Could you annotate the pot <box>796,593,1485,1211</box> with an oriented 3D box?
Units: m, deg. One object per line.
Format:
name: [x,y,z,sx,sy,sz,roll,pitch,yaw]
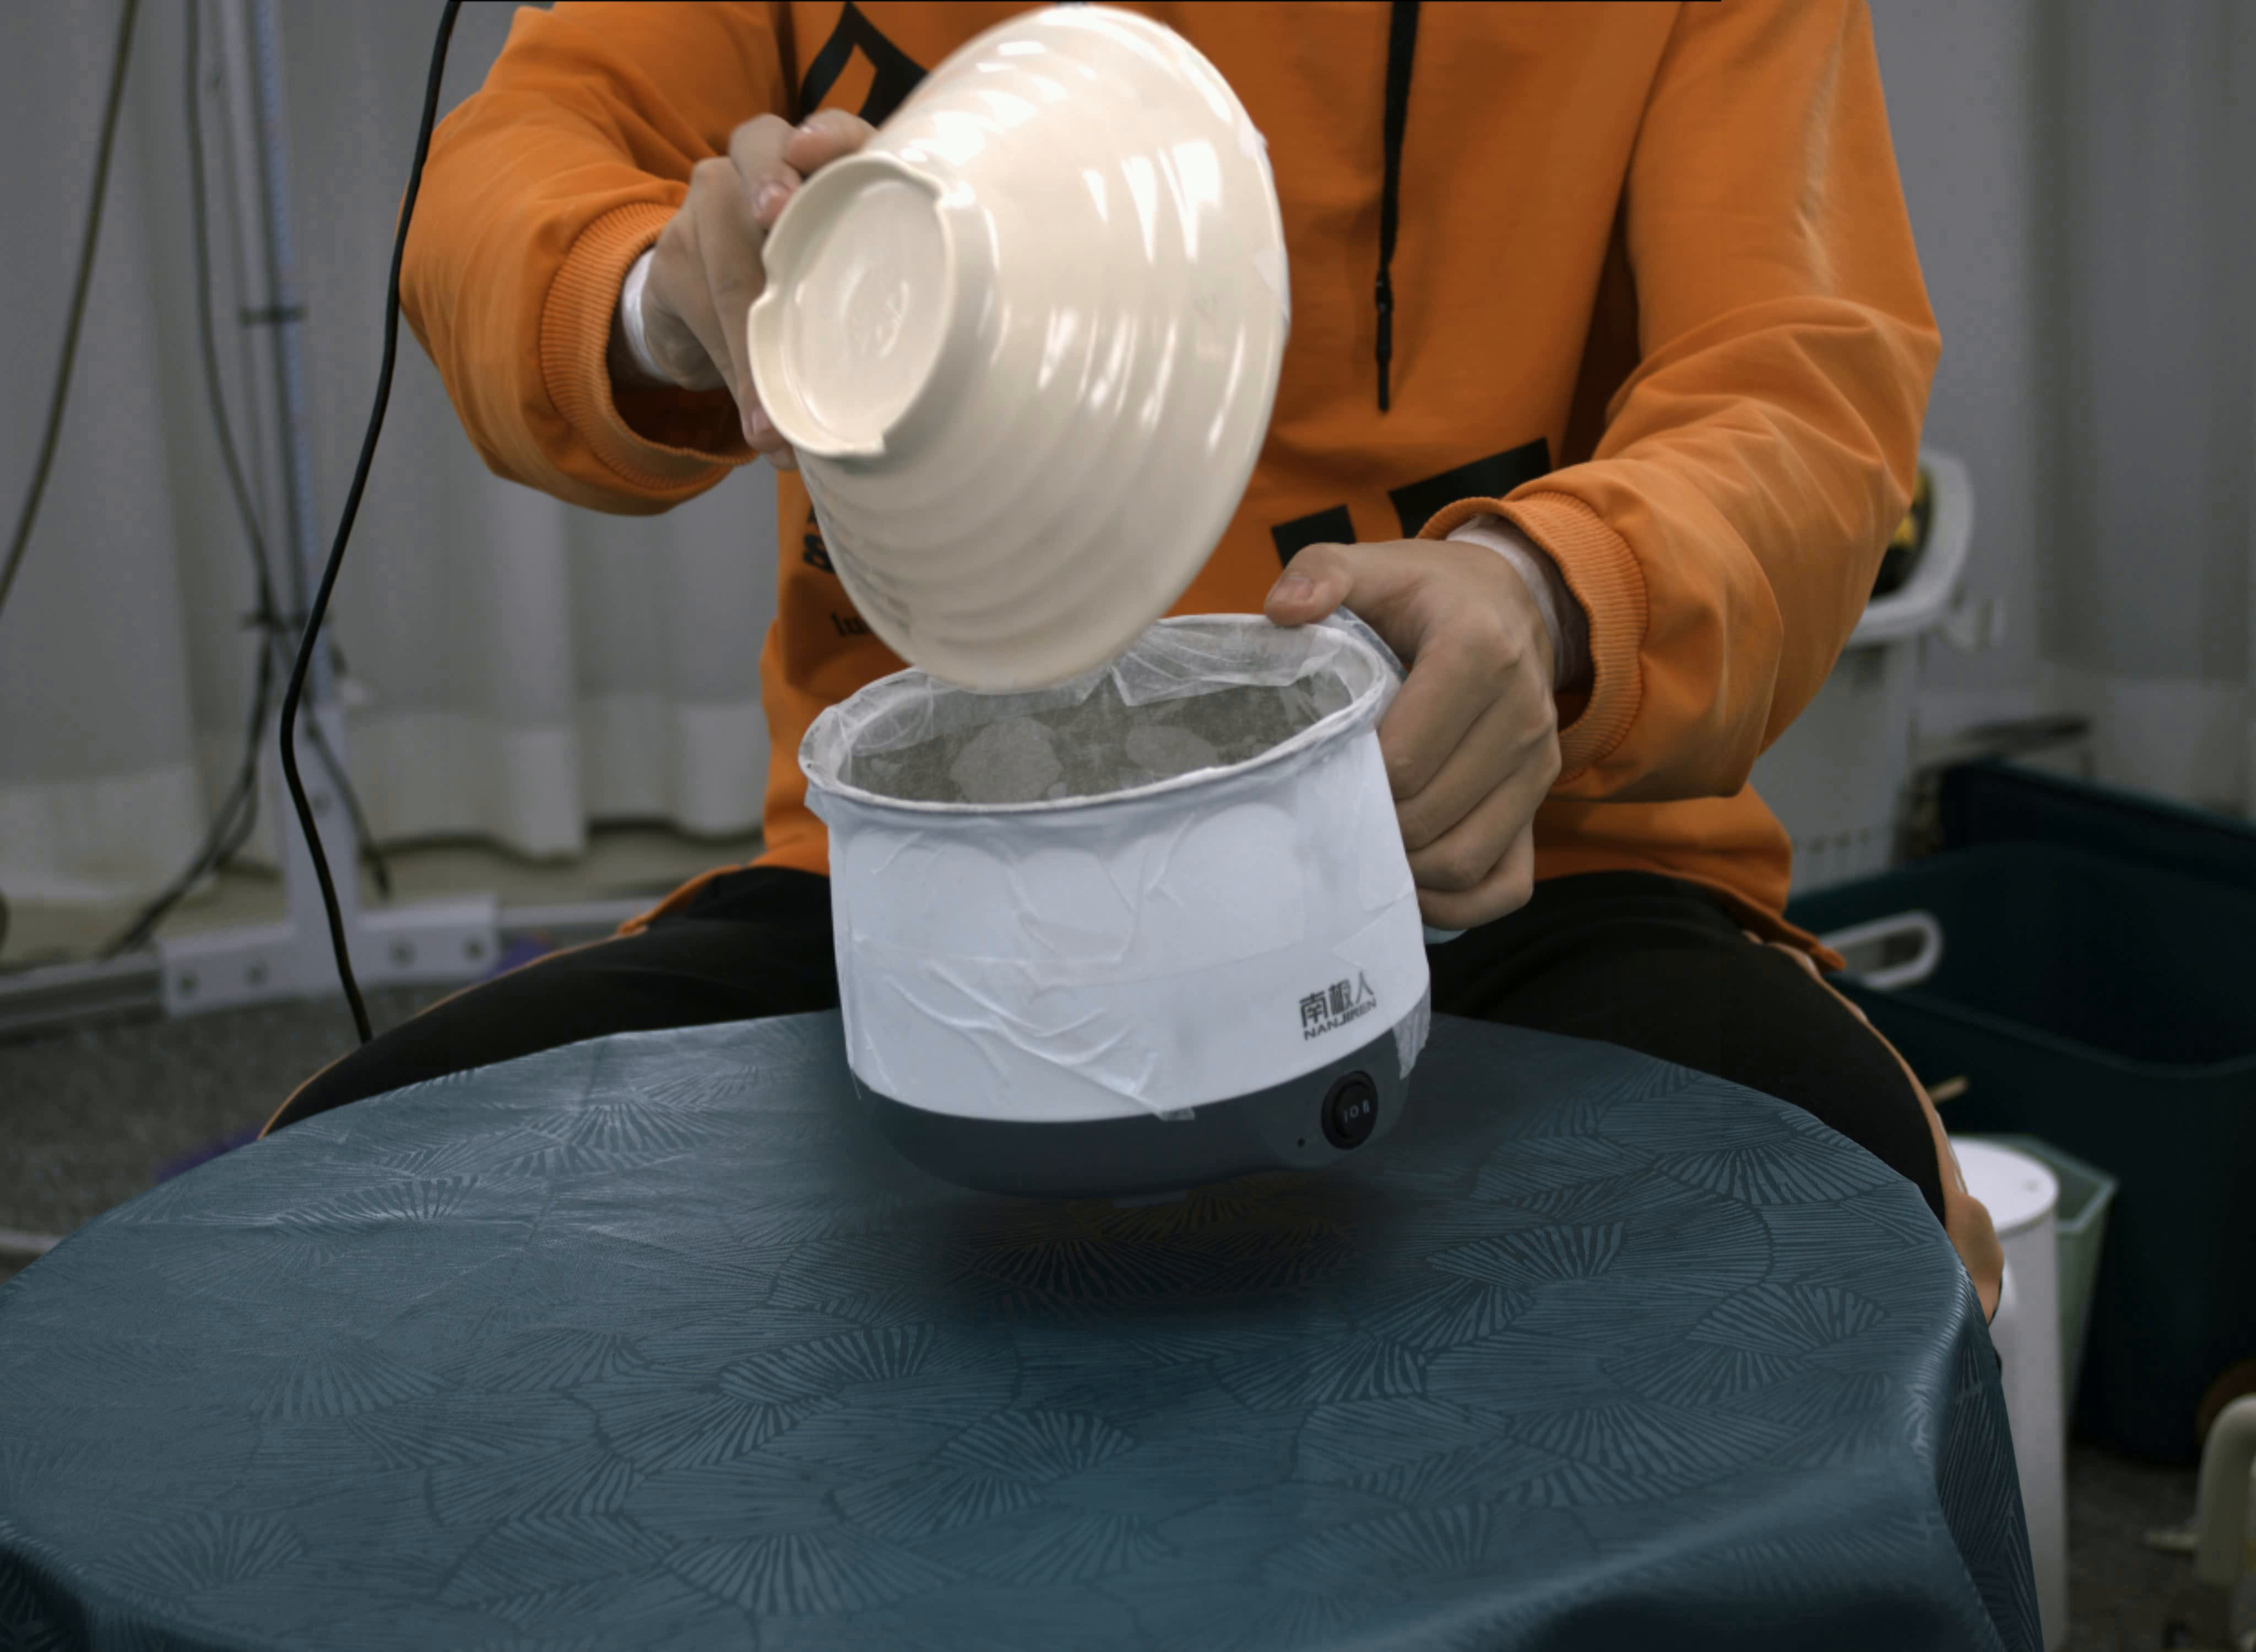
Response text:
pot: [0.017,0.016,1.655,0.179,0.136,0.234,10,26,44]

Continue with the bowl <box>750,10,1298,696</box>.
bowl: [-0.051,-0.143,1.576,0.205,0.204,0.077,12,0,44]
